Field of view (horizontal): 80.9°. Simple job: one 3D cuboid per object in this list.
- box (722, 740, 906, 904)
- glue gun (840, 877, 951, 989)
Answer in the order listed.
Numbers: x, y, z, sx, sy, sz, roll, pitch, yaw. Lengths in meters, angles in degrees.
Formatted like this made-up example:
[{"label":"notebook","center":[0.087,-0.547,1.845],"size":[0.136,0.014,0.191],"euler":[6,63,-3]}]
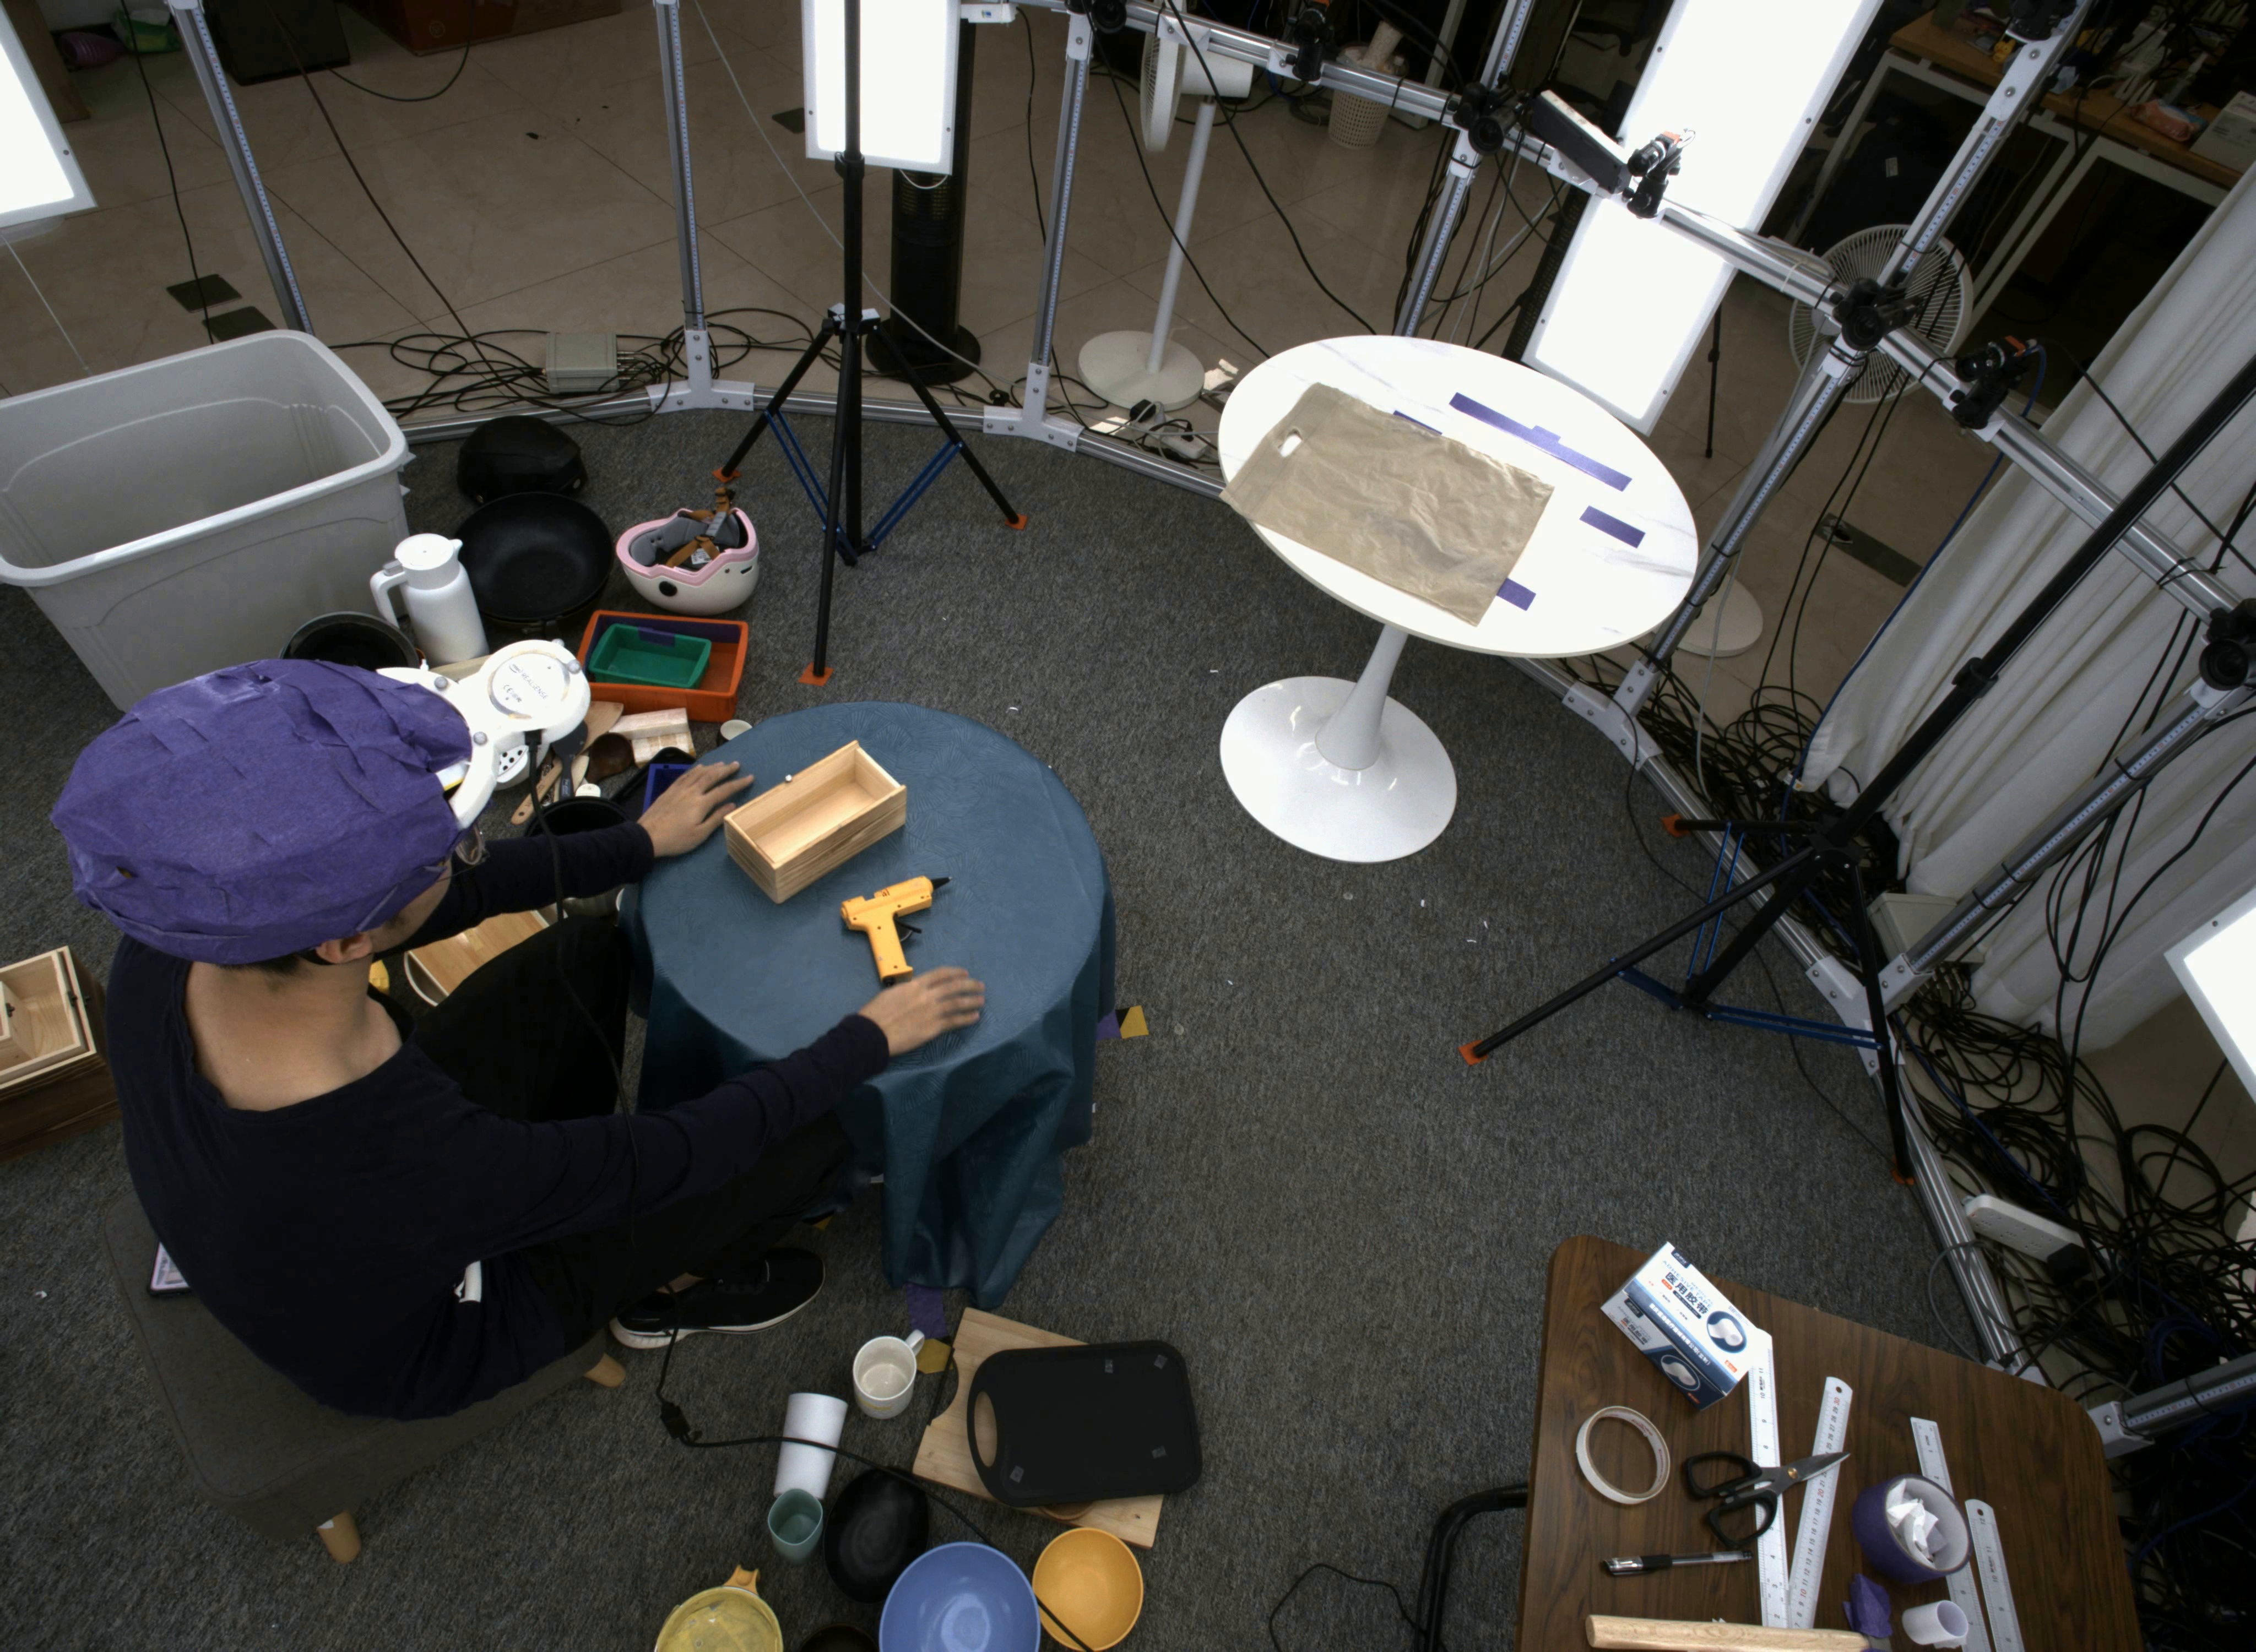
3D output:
[{"label":"box","center":[-0.403,-0.009,1.679],"size":[0.105,0.082,0.212],"euler":[42,55,19]},{"label":"glue gun","center":[-0.271,0.123,1.650],"size":[0.152,0.032,0.130],"euler":[-25,64,-27]}]
